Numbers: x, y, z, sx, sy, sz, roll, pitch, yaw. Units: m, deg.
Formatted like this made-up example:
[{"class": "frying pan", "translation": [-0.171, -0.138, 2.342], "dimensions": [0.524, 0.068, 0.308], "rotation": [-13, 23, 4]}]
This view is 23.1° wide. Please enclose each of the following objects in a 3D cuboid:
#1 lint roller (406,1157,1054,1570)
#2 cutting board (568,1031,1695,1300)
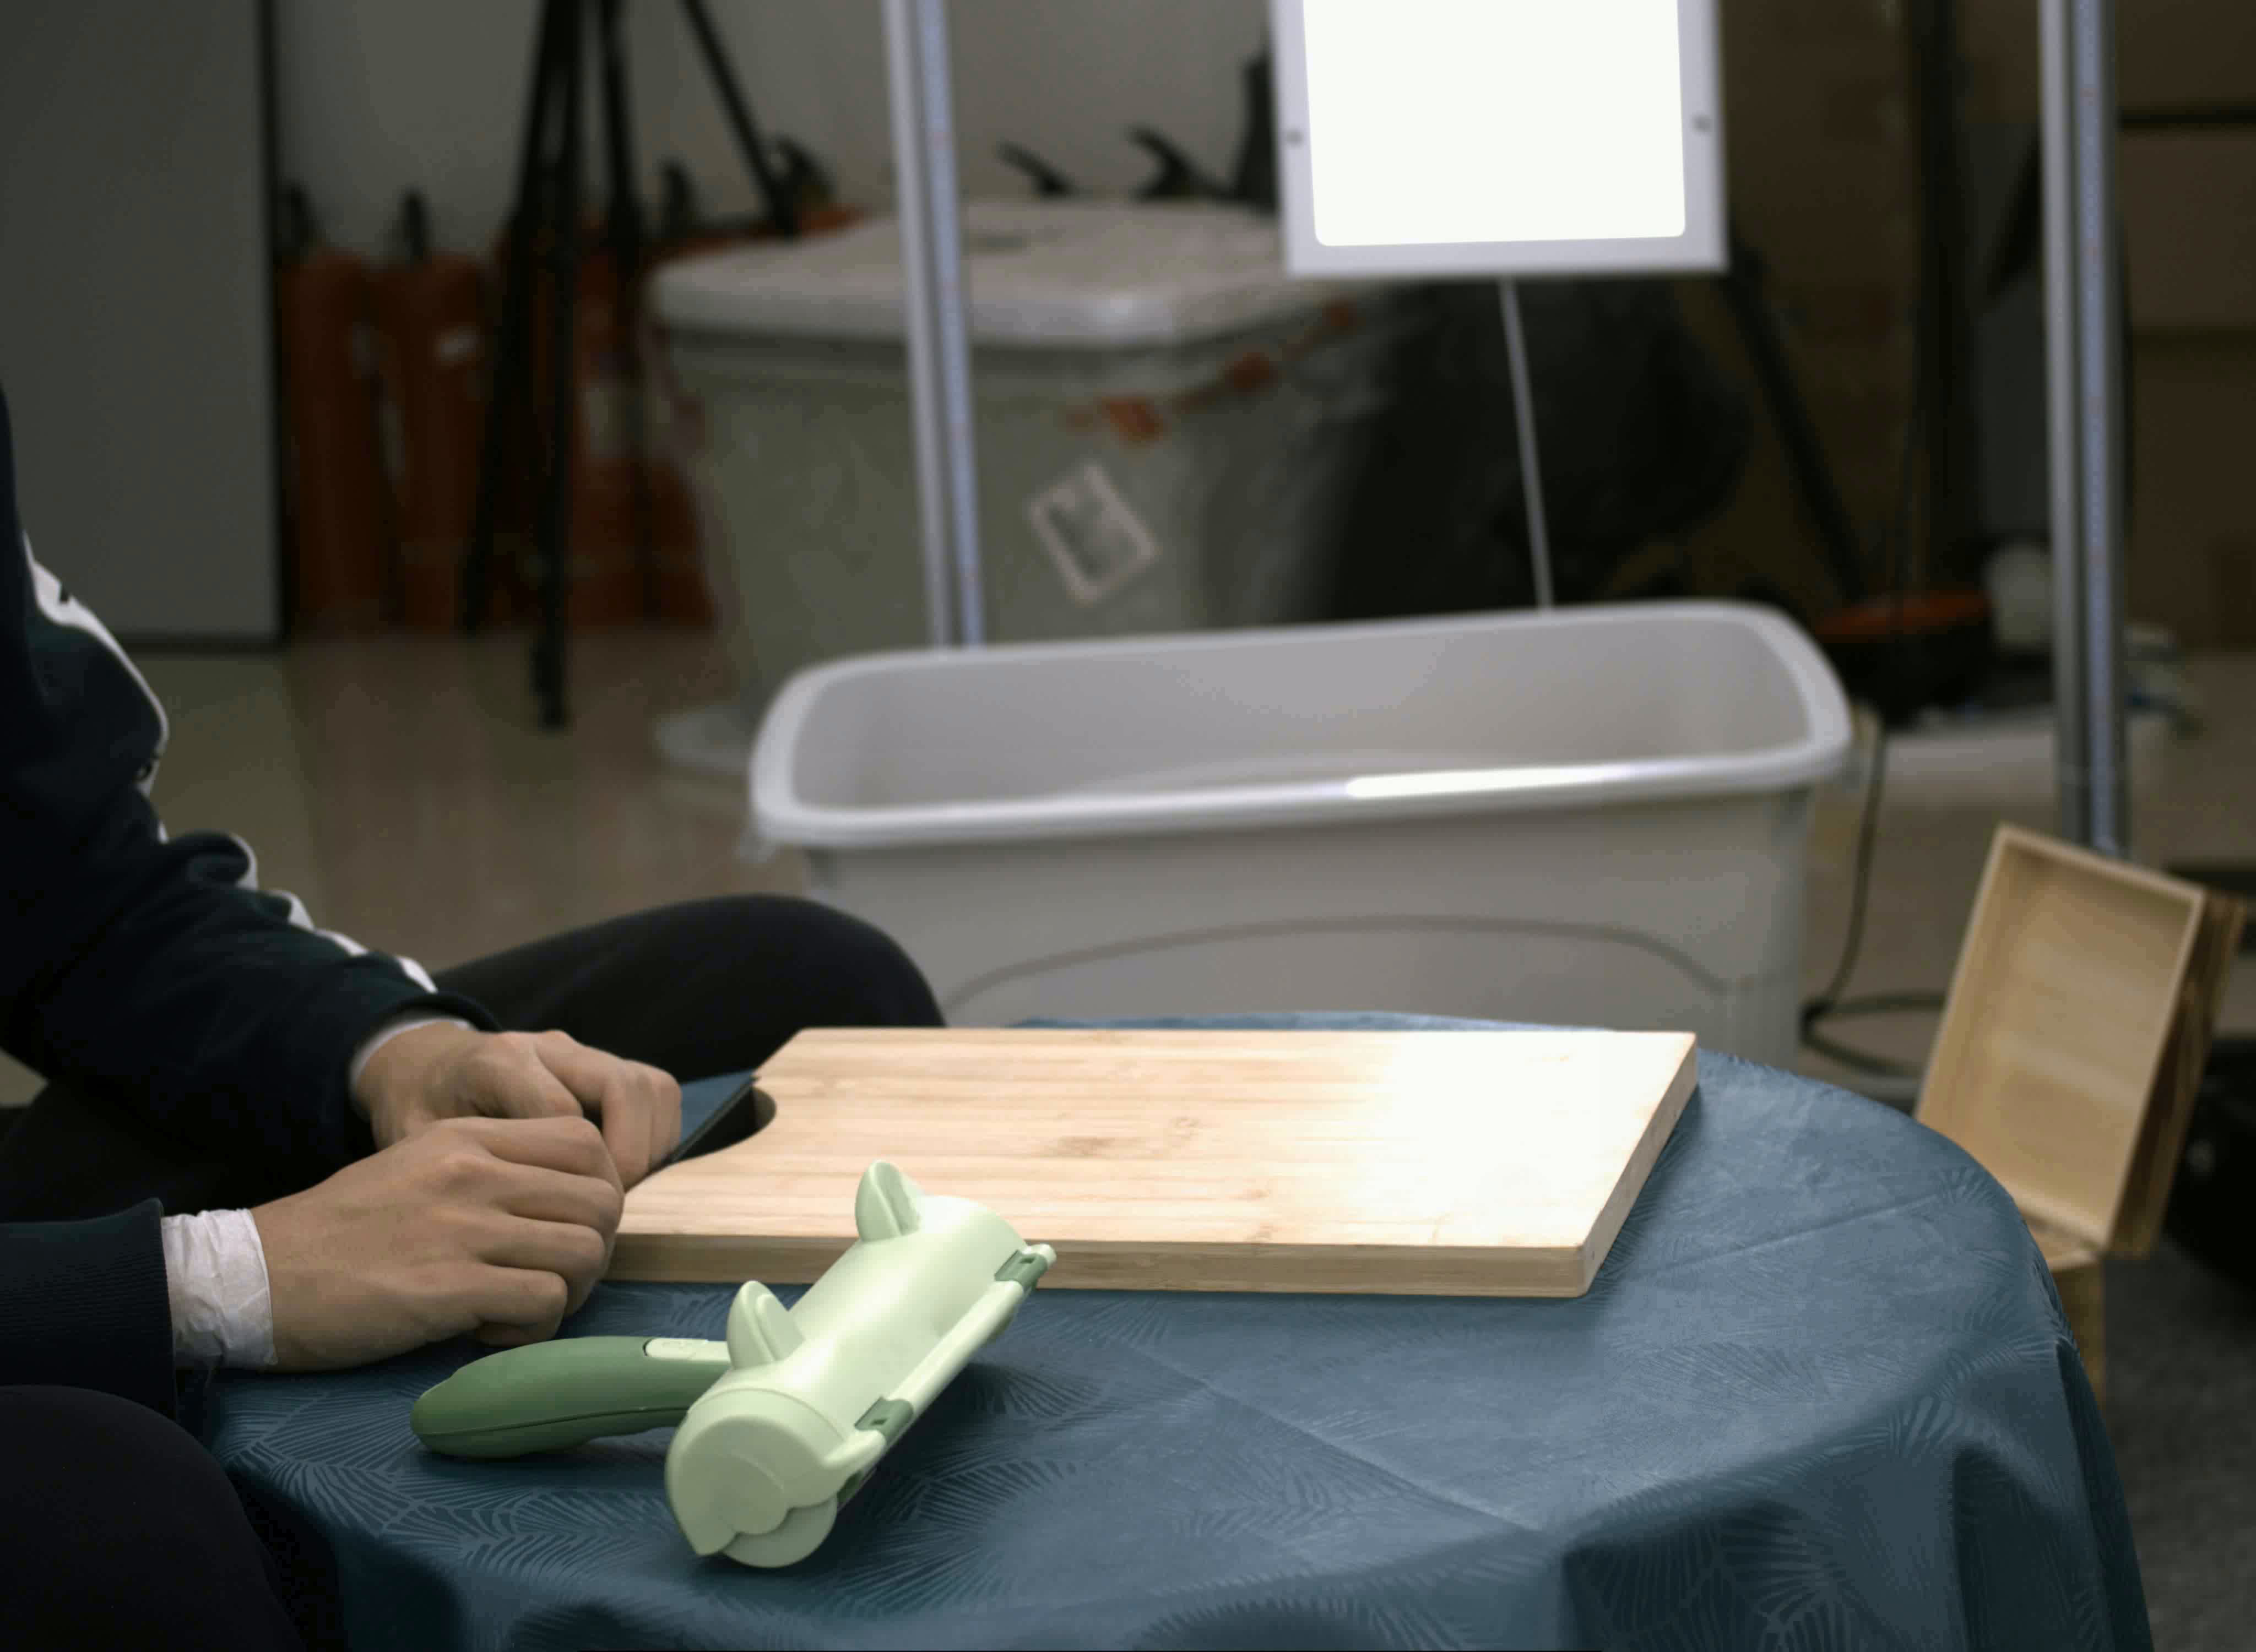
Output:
[{"class": "lint roller", "translation": [-0.135, 0.154, 1.665], "dimensions": [0.185, 0.082, 0.195], "rotation": [3, 16, 17]}, {"class": "cutting board", "translation": [0.008, 0.115, 1.908], "dimensions": [0.352, 0.023, 0.247], "rotation": [-1, 14, 16]}]
